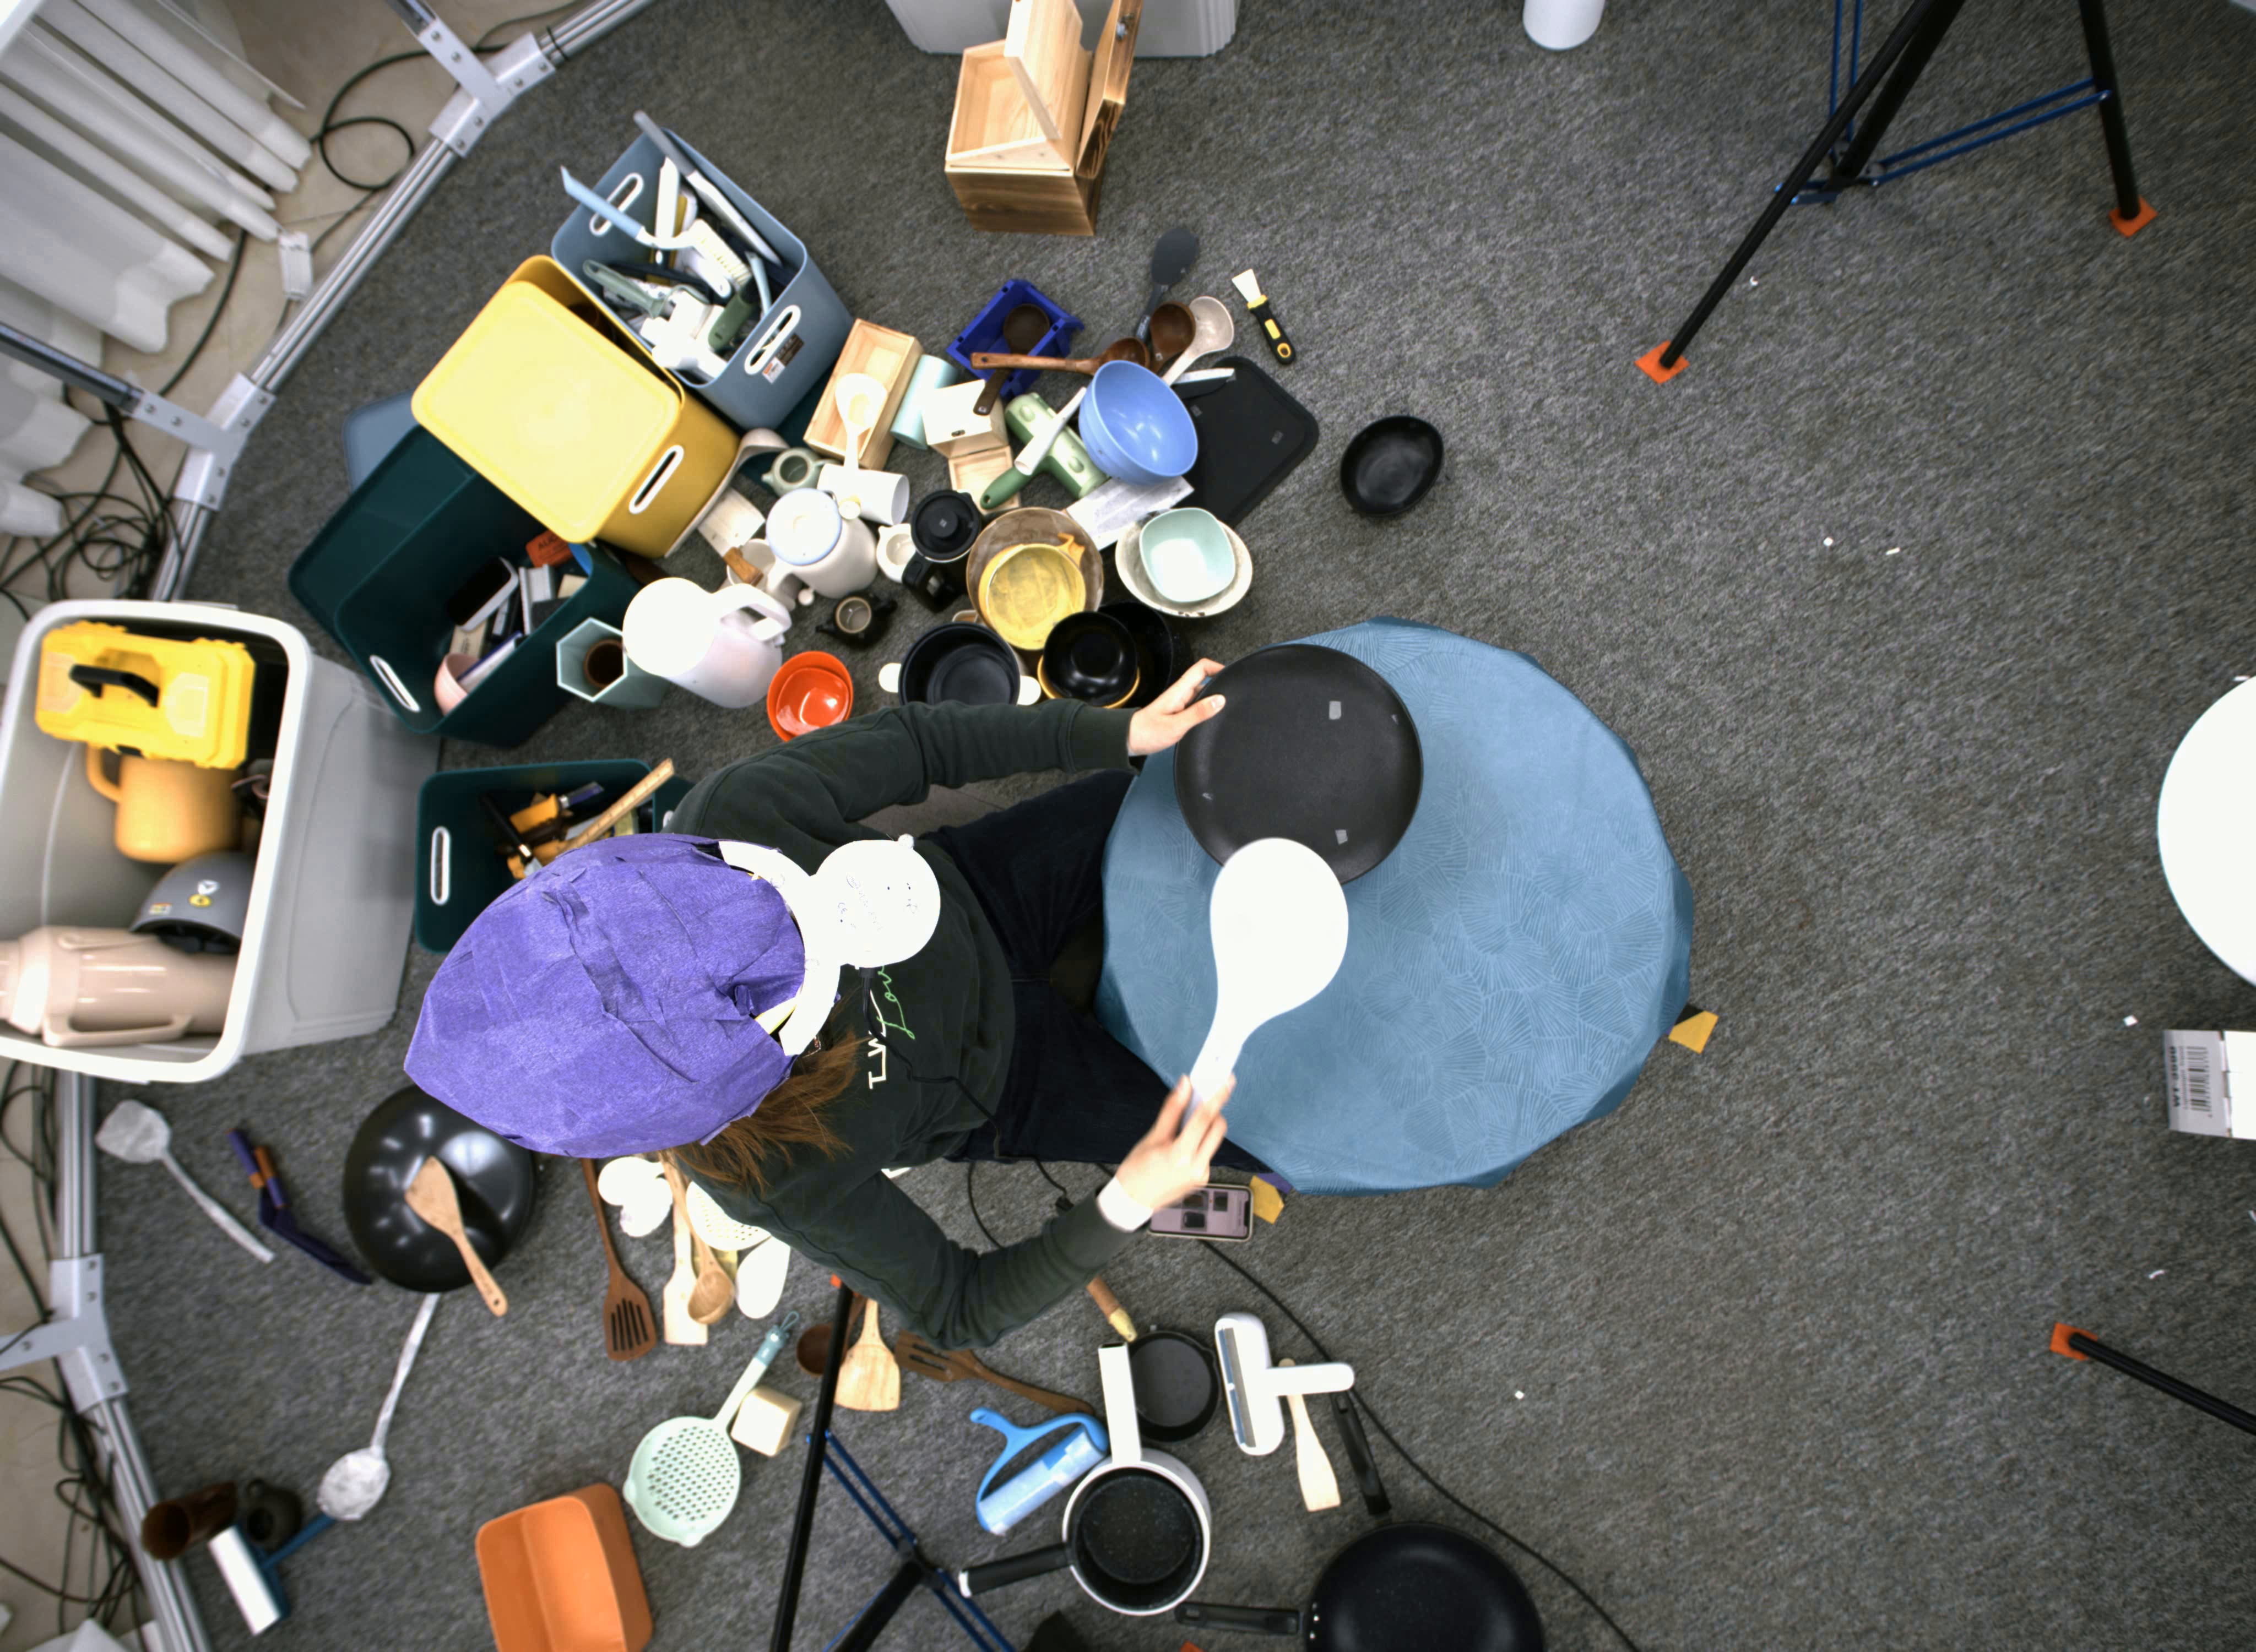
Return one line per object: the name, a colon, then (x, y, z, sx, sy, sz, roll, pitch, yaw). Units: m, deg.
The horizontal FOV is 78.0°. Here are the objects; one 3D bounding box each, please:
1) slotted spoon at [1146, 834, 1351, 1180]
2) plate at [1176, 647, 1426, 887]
slotted spoon: (0.093, 0.169, 1.230, 0.135, 0.045, 0.355, 34, 109, 28)
plate: (0.169, -0.054, 1.353, 0.245, 0.023, 0.246, 2, 101, 11)
